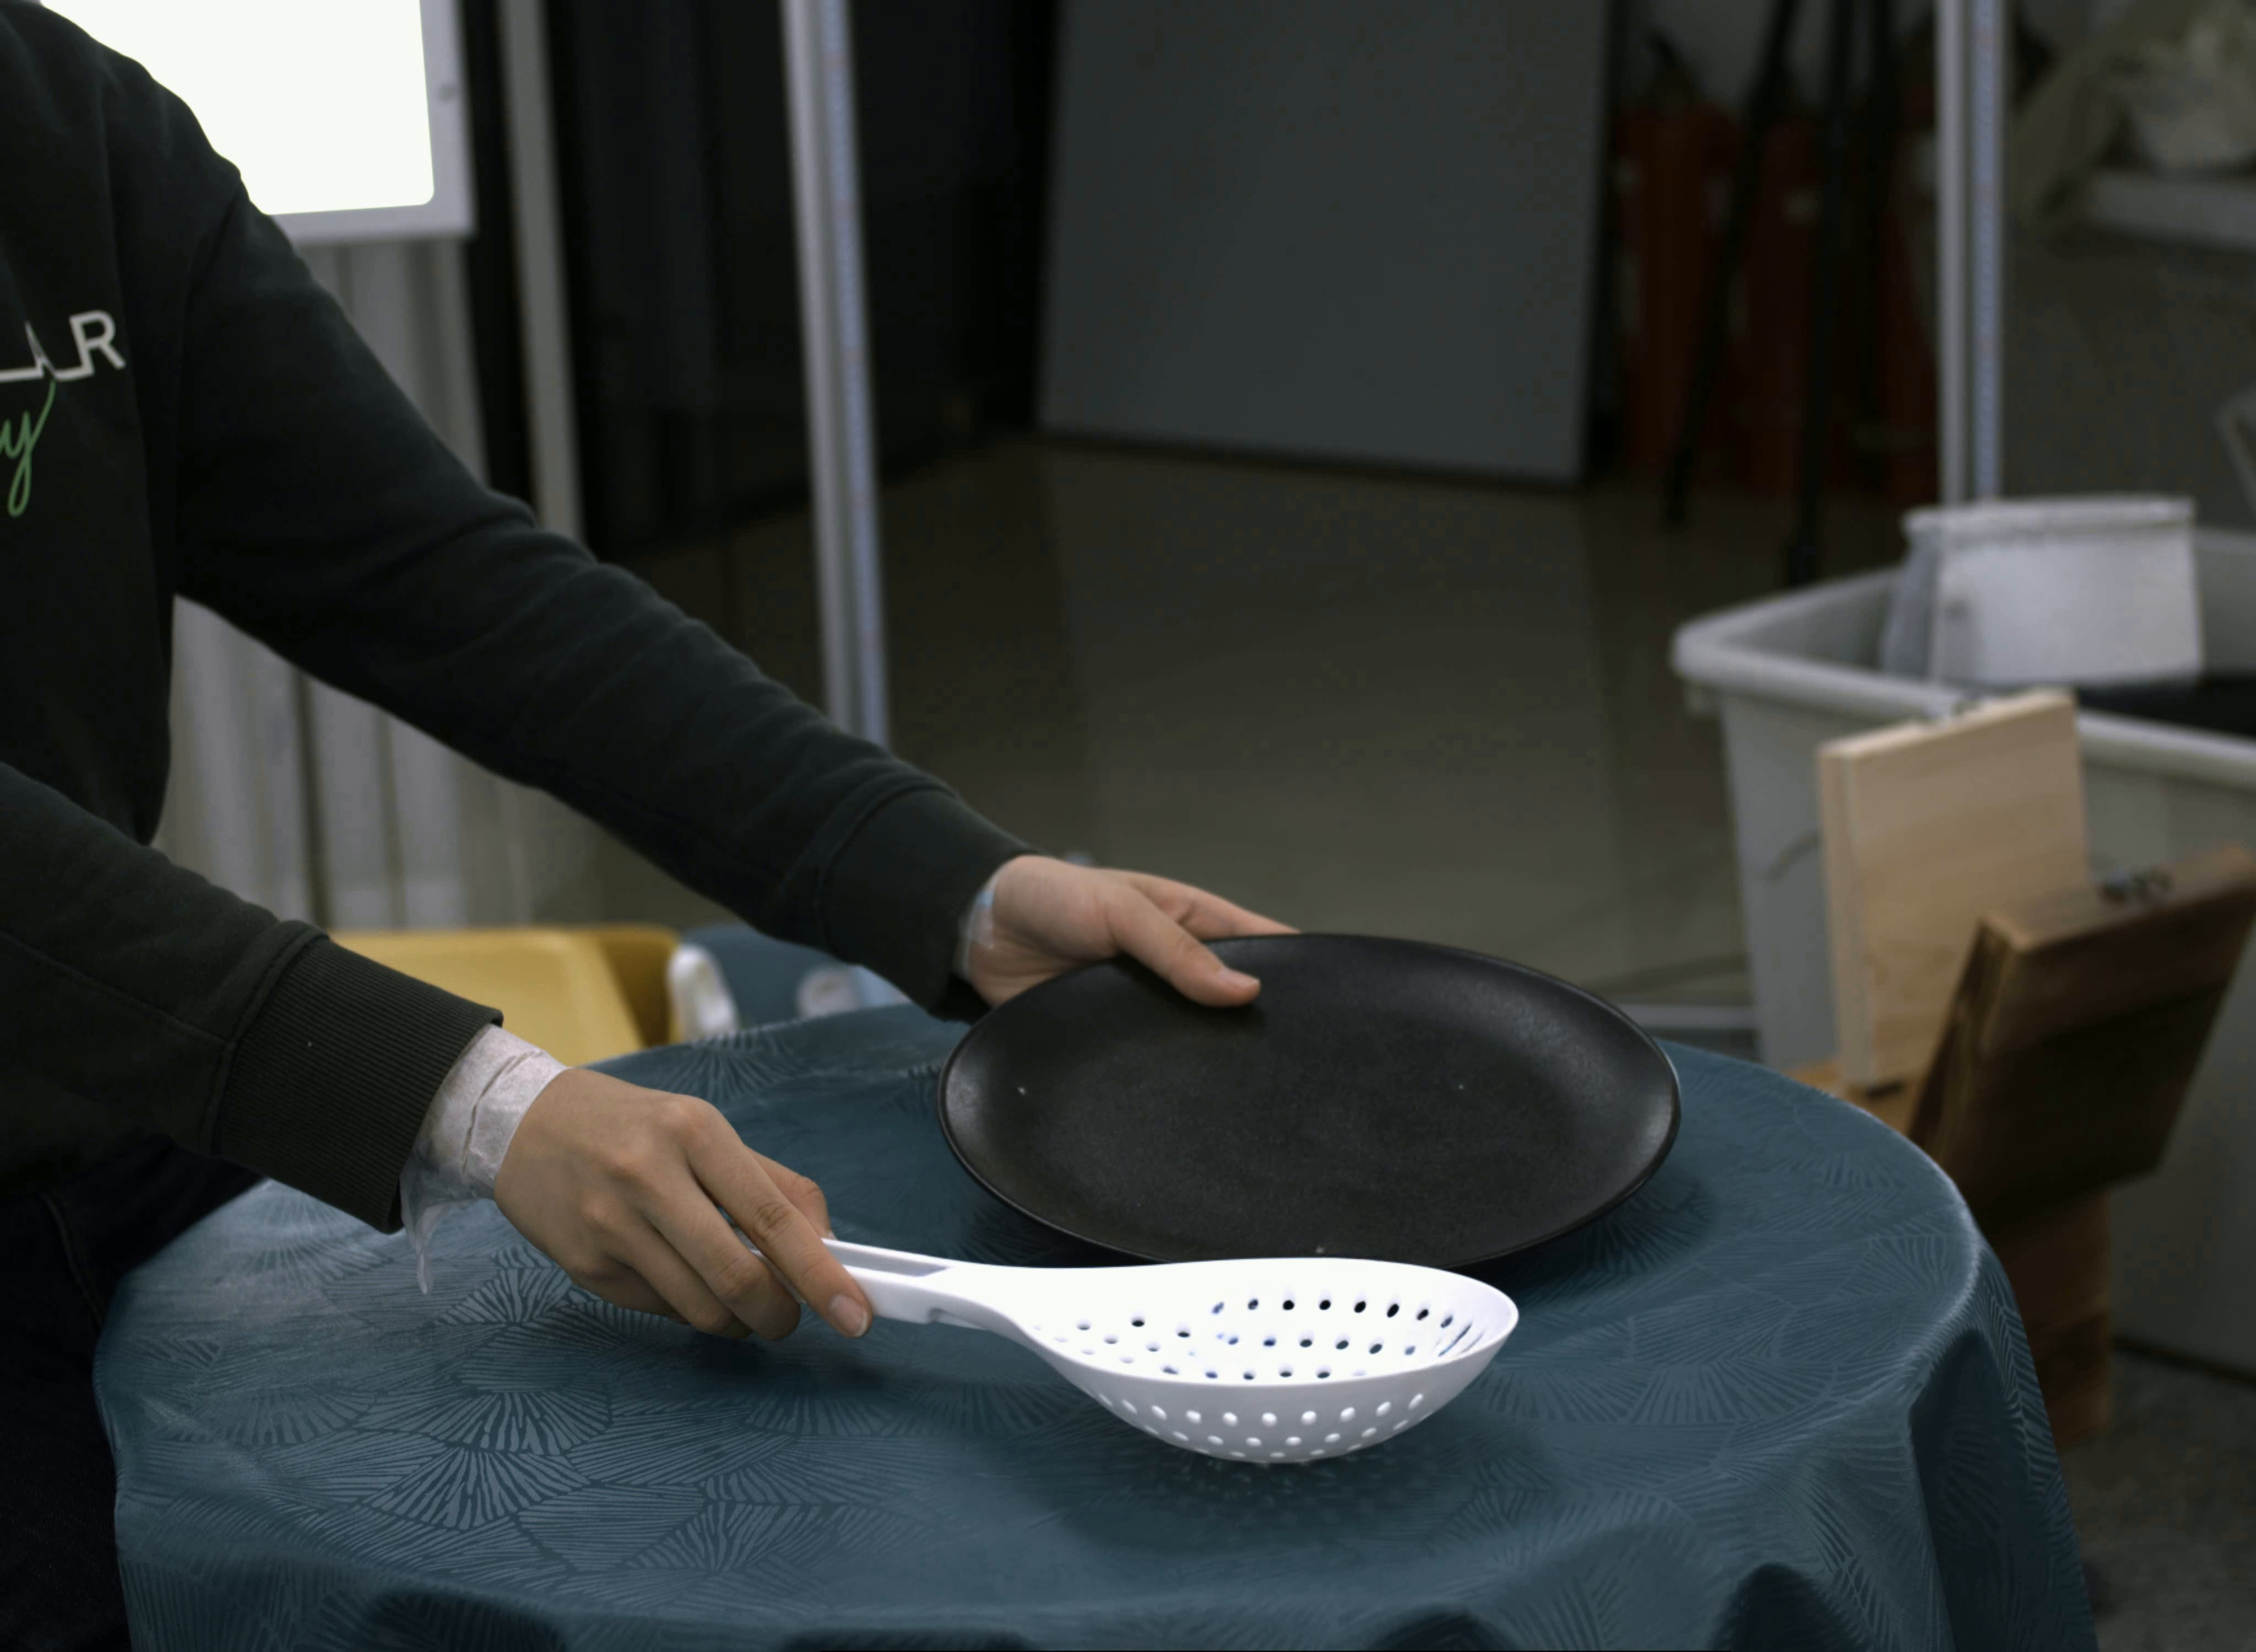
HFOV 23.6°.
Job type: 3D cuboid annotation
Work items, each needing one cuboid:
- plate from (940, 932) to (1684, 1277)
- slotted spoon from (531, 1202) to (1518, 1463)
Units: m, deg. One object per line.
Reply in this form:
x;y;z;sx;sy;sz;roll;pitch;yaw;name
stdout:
0.059;0.096;1.740;0.241;0.023;0.245;-2;24;0;plate
-0.042;0.139;1.588;0.352;0.046;0.133;10;14;37;slotted spoon
